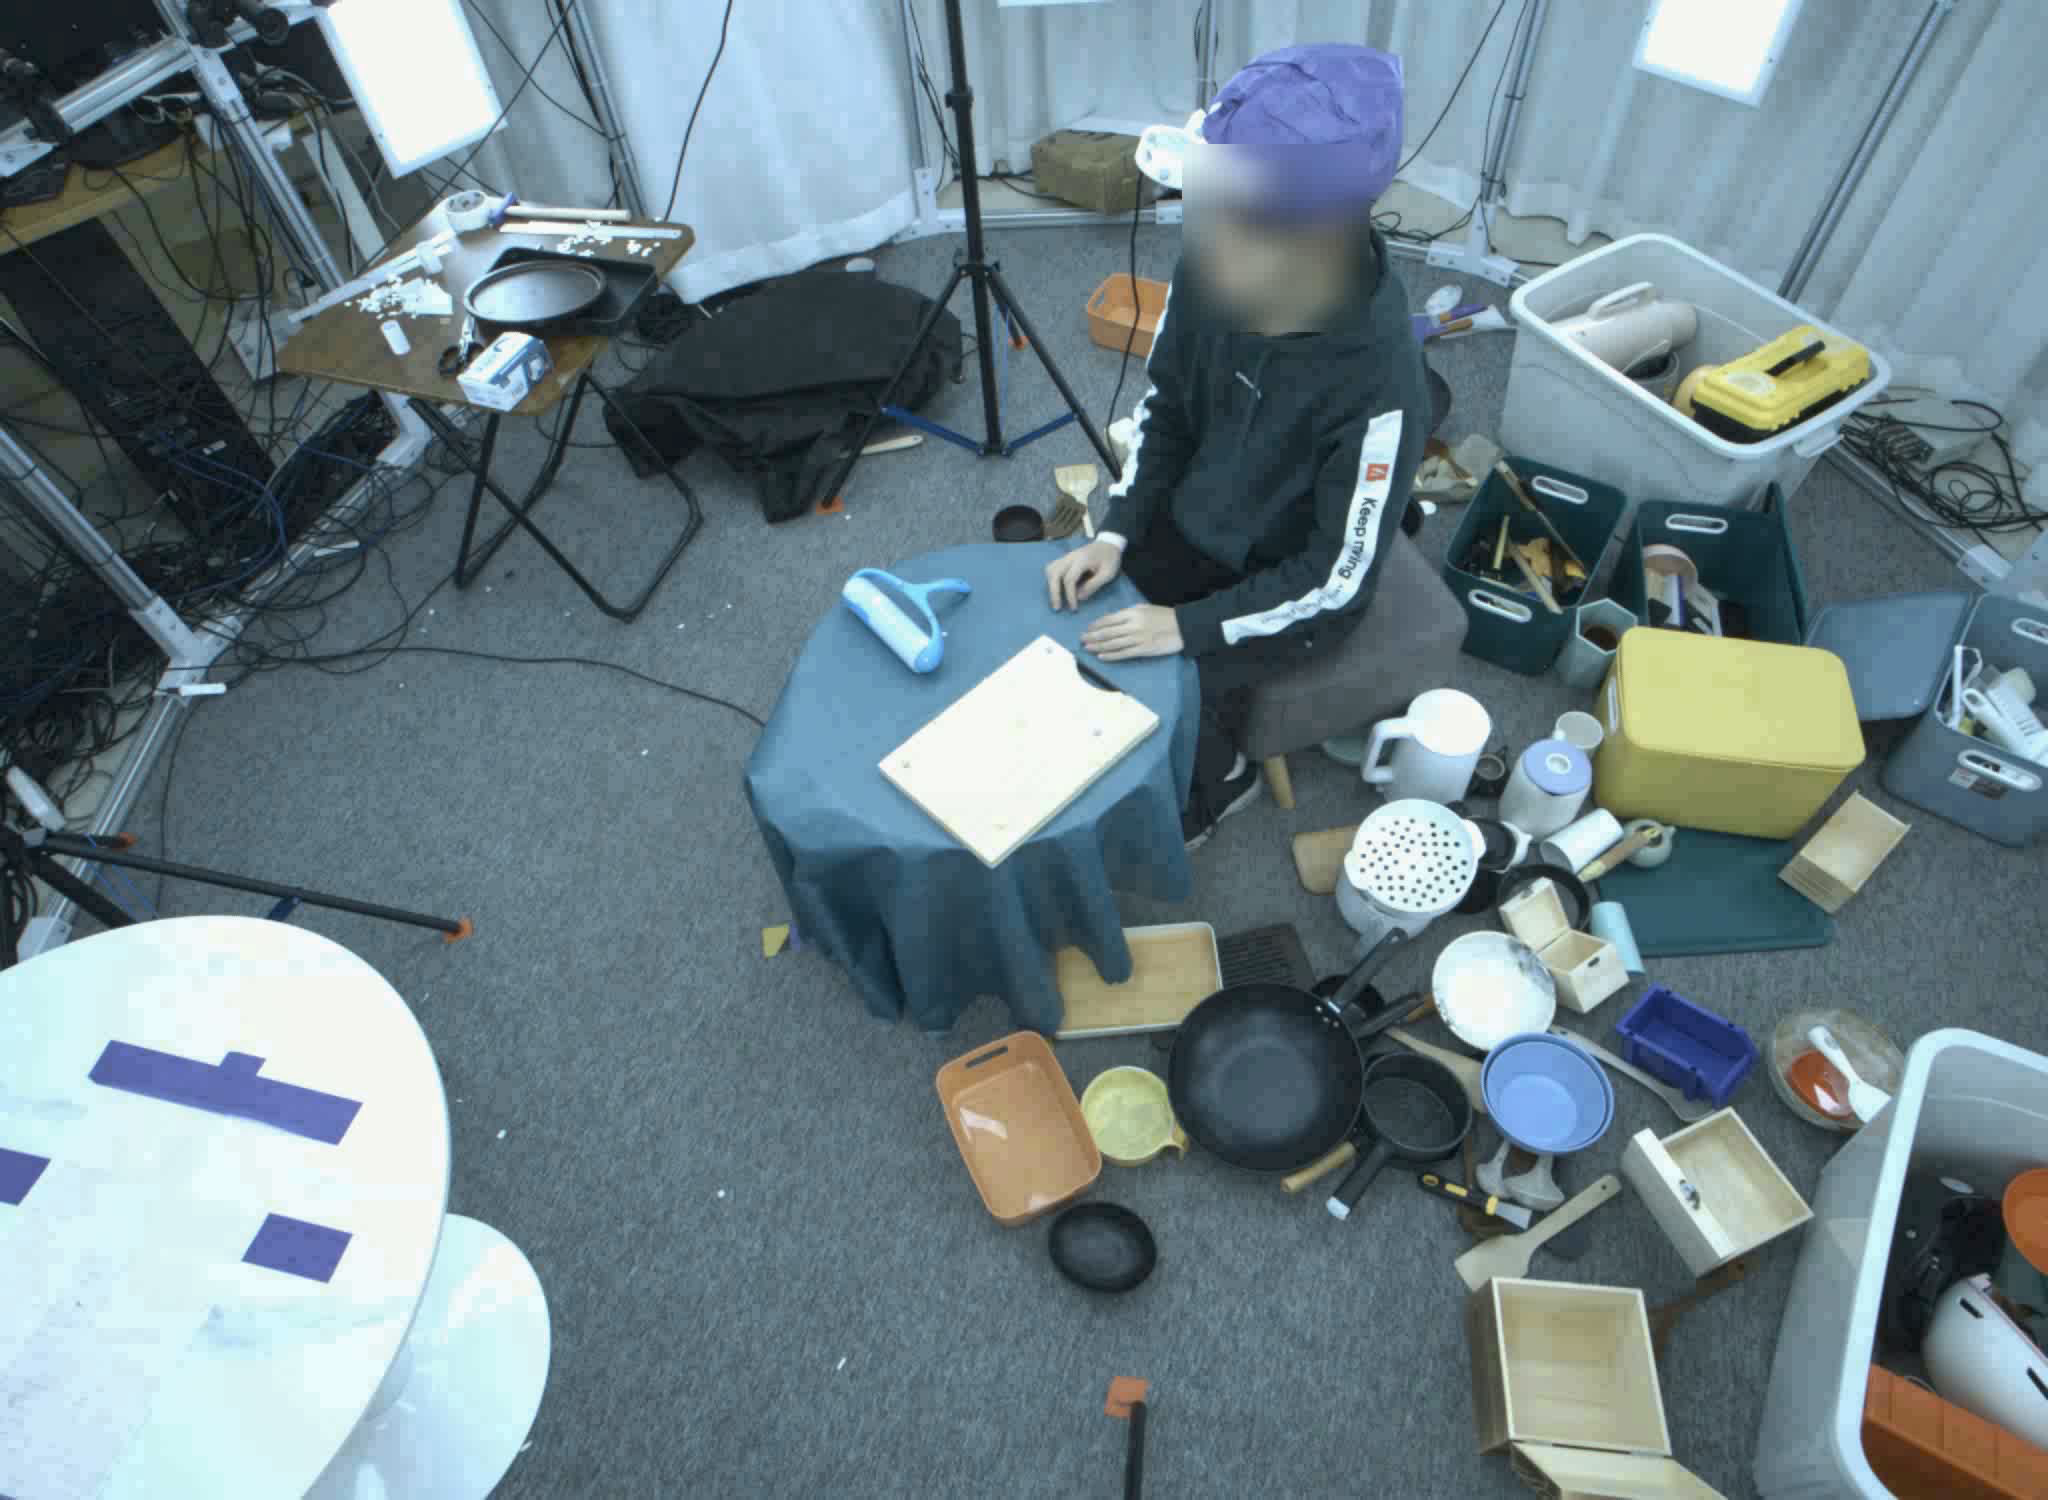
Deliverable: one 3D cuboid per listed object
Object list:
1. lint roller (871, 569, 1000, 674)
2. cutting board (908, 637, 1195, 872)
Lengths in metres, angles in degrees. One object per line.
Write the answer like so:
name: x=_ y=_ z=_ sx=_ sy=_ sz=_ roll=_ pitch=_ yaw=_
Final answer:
lint roller: x=-0.117 y=-0.228 z=1.913 sx=0.181 sy=0.069 sz=0.224 roll=-36 pitch=59 yaw=-21
cutting board: x=0.038 y=-0.004 z=1.775 sx=0.351 sy=0.024 sz=0.246 roll=-39 pitch=62 yaw=-23
